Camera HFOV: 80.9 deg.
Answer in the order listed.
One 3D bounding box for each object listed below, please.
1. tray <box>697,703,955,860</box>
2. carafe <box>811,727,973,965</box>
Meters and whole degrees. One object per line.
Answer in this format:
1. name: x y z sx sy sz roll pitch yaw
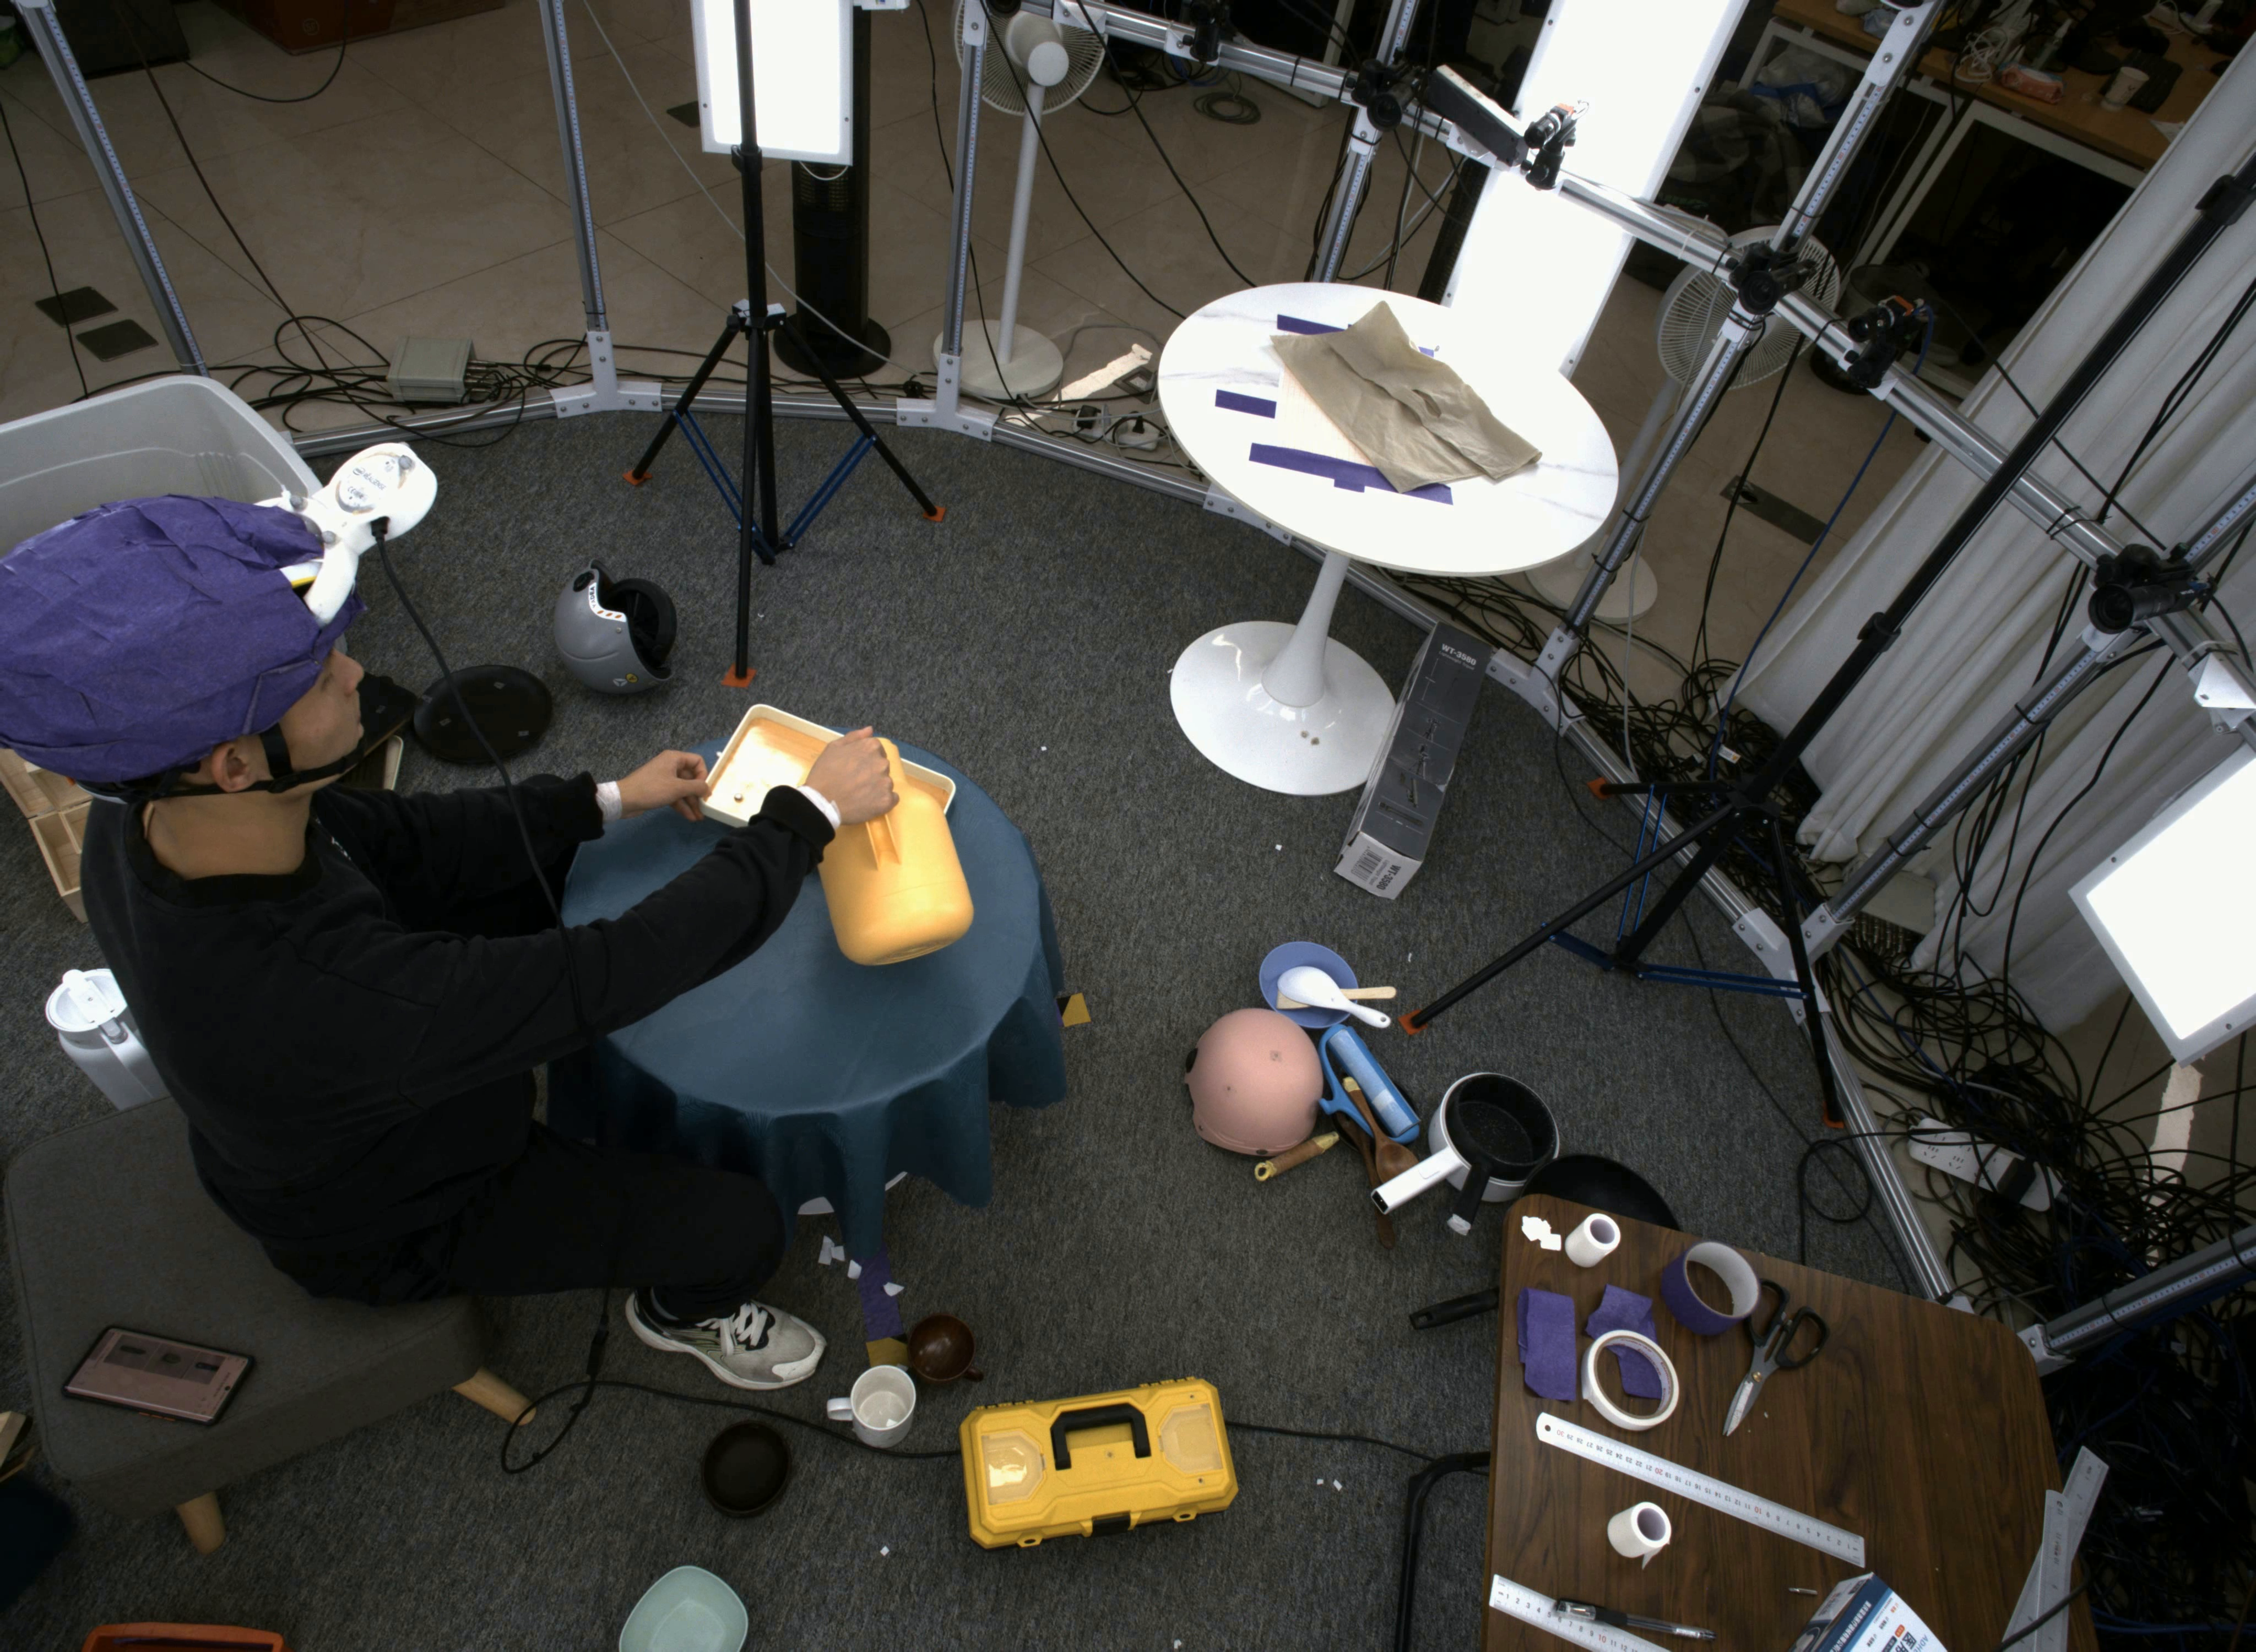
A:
1. tray: -0.396 -0.041 1.717 0.300 0.028 0.189 22 50 -7
2. carafe: -0.290 0.016 1.512 0.163 0.204 0.260 -19 79 -8
